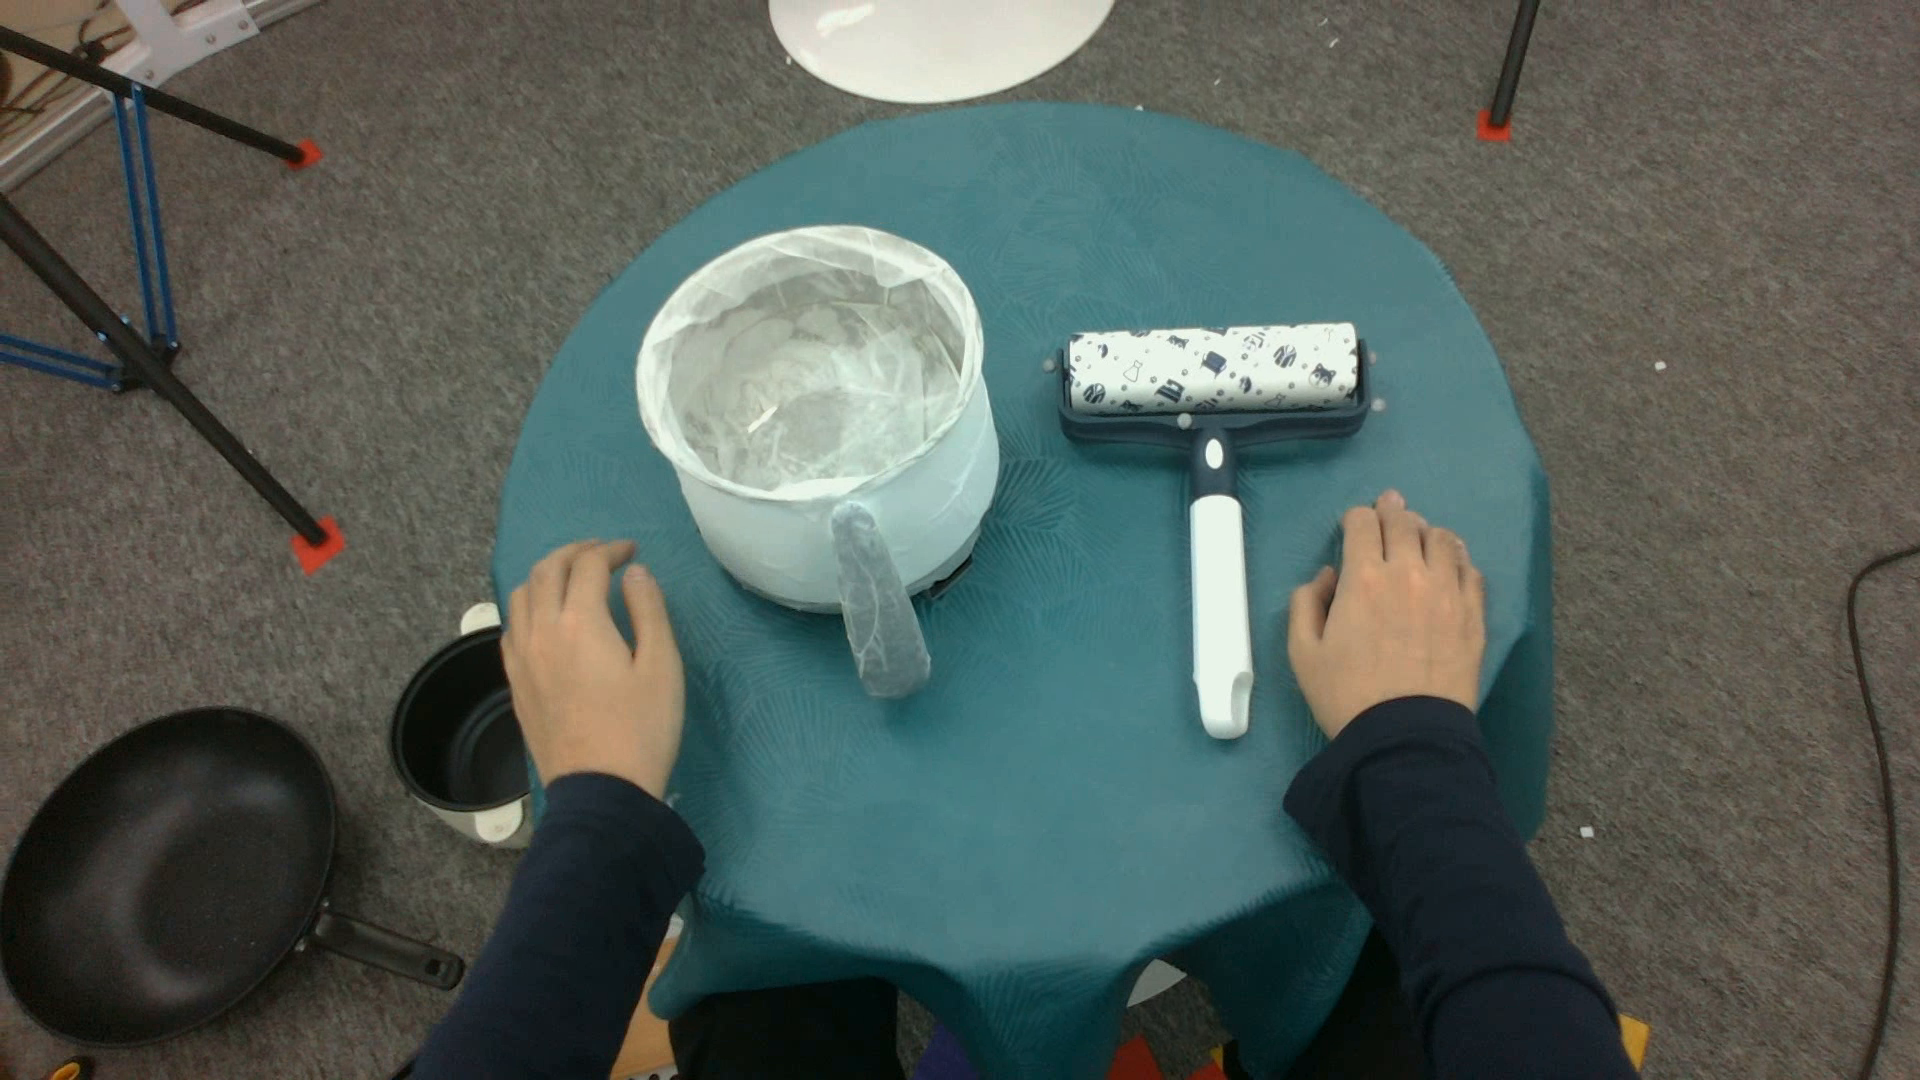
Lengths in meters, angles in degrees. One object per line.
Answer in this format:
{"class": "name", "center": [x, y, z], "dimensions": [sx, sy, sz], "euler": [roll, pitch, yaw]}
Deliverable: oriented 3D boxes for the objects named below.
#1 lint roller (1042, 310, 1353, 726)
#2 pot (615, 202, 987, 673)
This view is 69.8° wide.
{"class": "lint roller", "center": [0.133, -0.021, 0.747], "dimensions": [0.176, 0.050, 0.248], "euler": [-1, 60, 4]}
{"class": "pot", "center": [-0.070, -0.050, 0.727], "dimensions": [0.179, 0.136, 0.234], "euler": [-18, 56, -2]}
